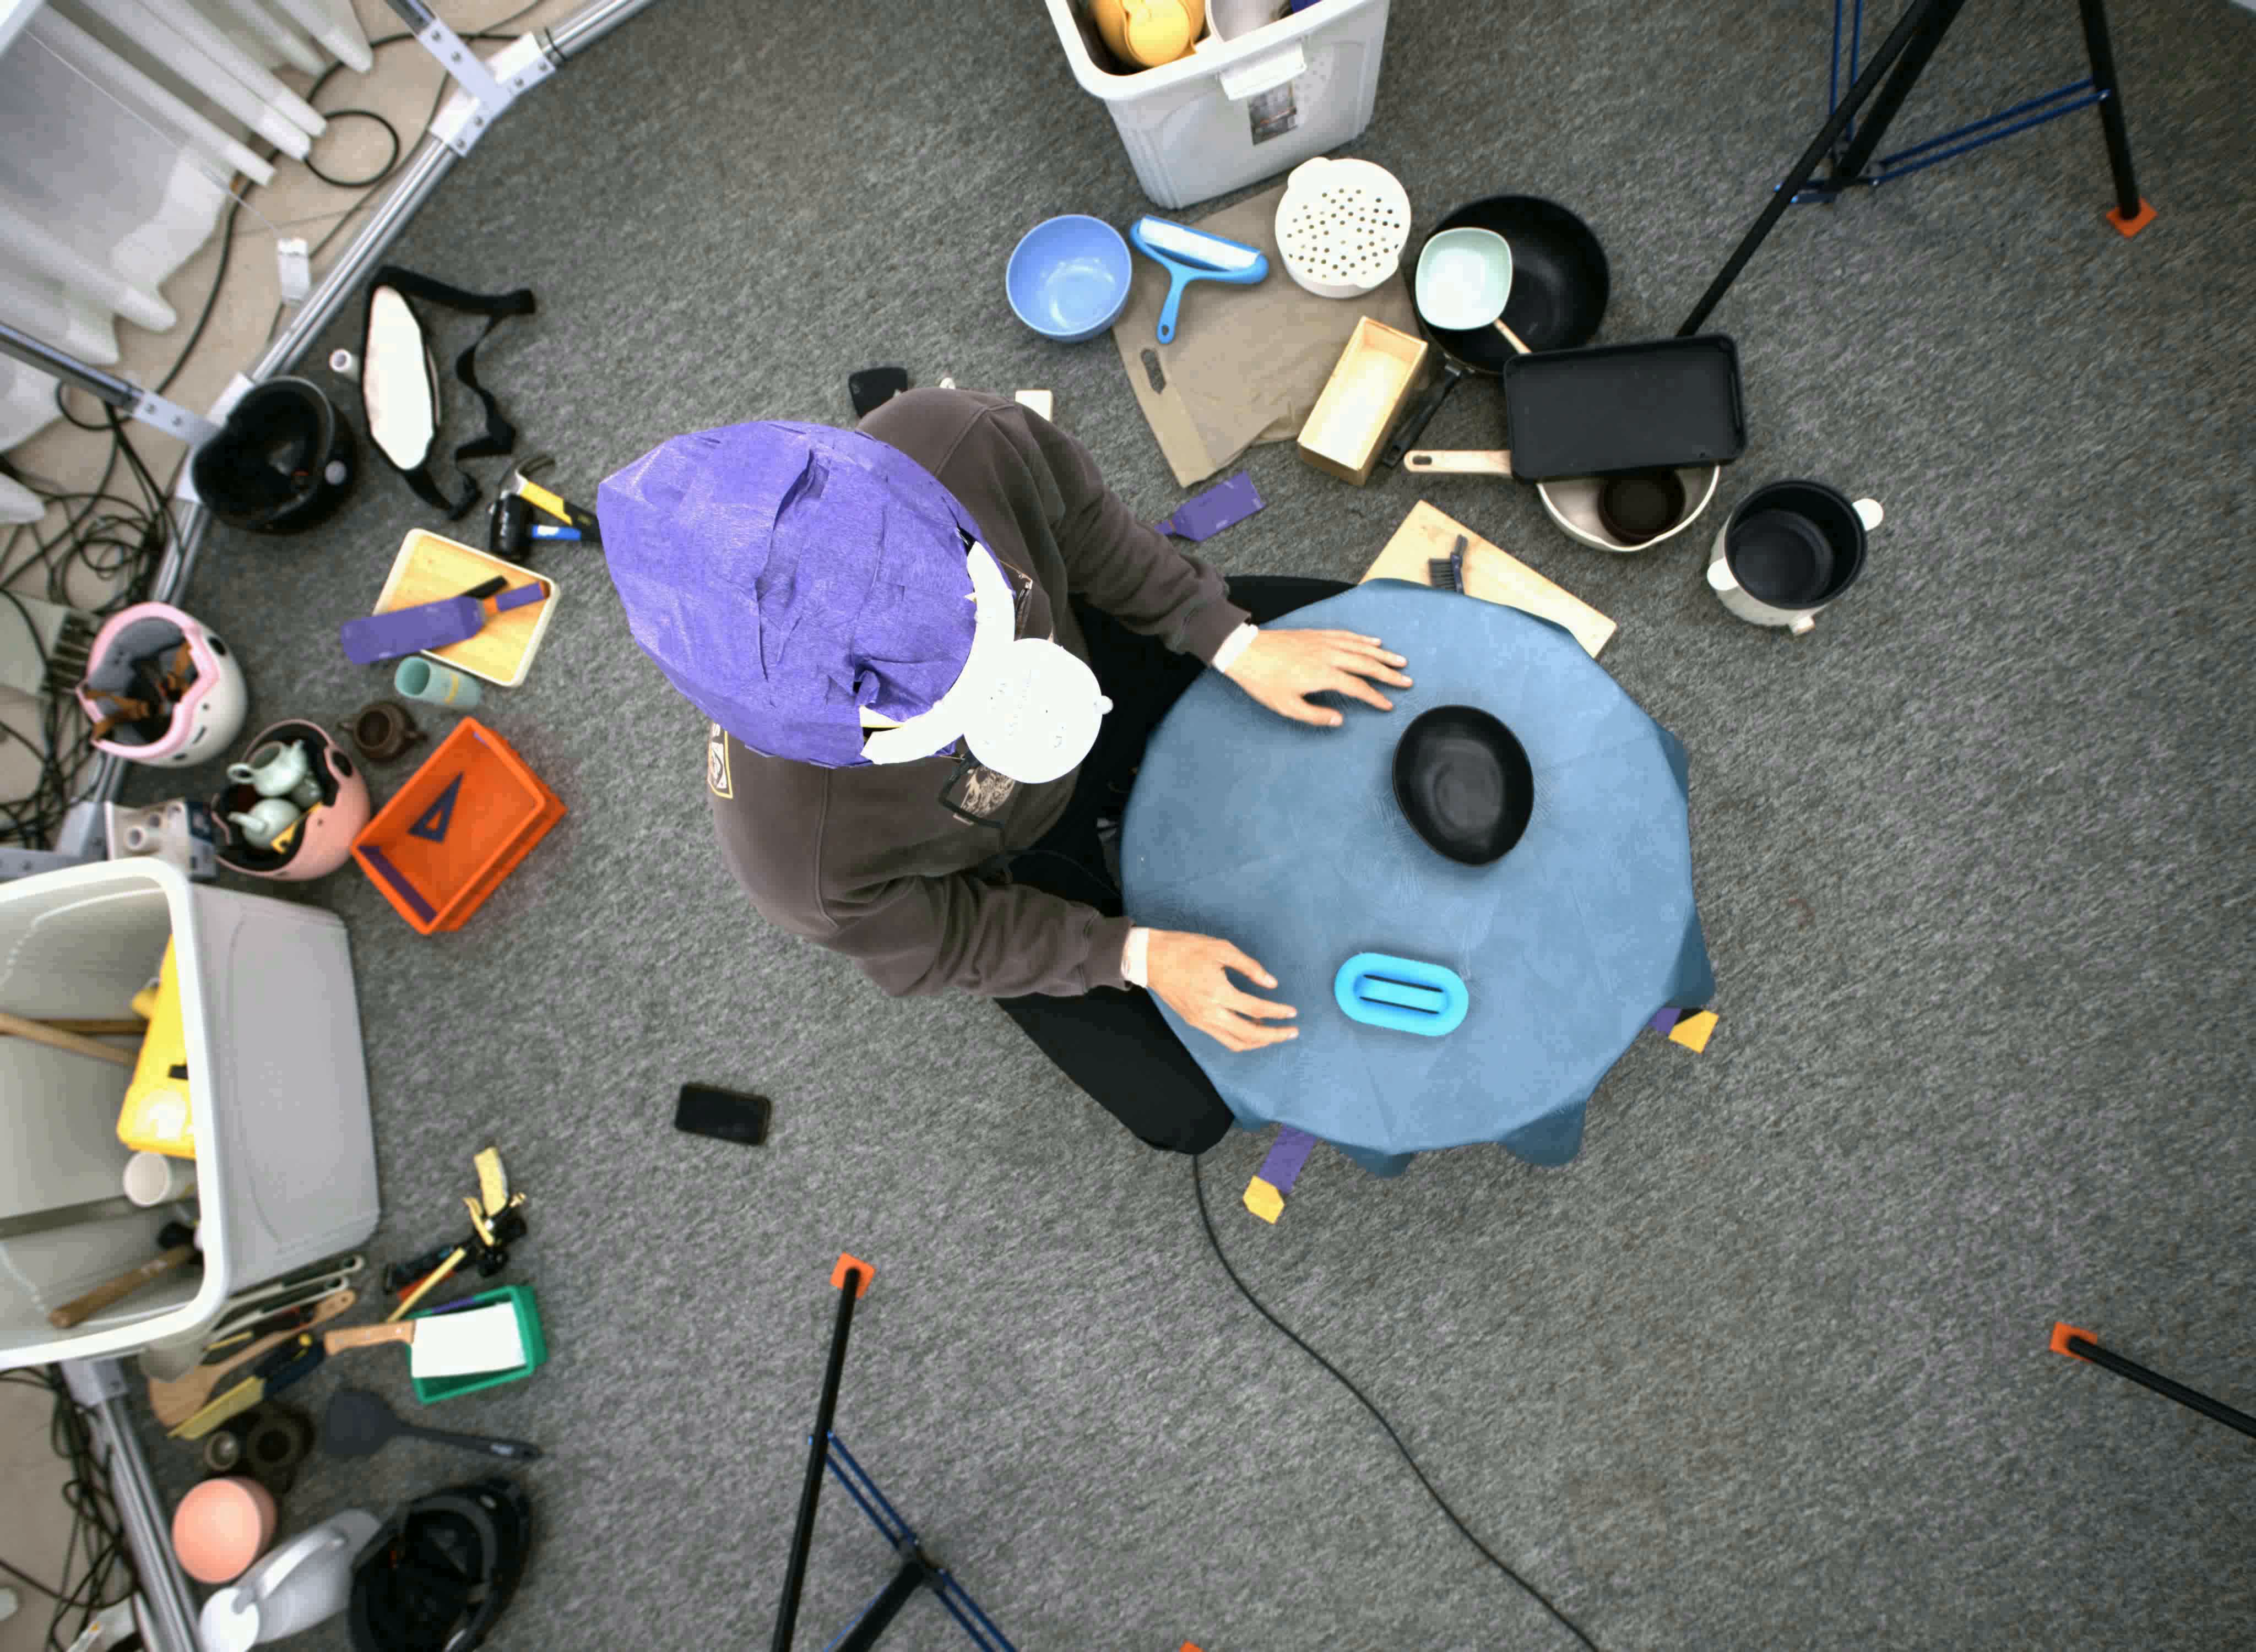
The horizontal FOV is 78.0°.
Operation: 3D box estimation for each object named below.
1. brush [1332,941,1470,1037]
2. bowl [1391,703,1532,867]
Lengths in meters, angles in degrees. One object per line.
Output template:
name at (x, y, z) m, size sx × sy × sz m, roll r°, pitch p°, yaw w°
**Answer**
brush at (0.279, 0.167, 1.418) m, size 0.142 × 0.063 × 0.084 m, roll 13°, pitch 93°, yaw 12°
bowl at (0.344, -0.043, 1.417) m, size 0.138 × 0.066 × 0.169 m, roll -21°, pitch 85°, yaw 9°
